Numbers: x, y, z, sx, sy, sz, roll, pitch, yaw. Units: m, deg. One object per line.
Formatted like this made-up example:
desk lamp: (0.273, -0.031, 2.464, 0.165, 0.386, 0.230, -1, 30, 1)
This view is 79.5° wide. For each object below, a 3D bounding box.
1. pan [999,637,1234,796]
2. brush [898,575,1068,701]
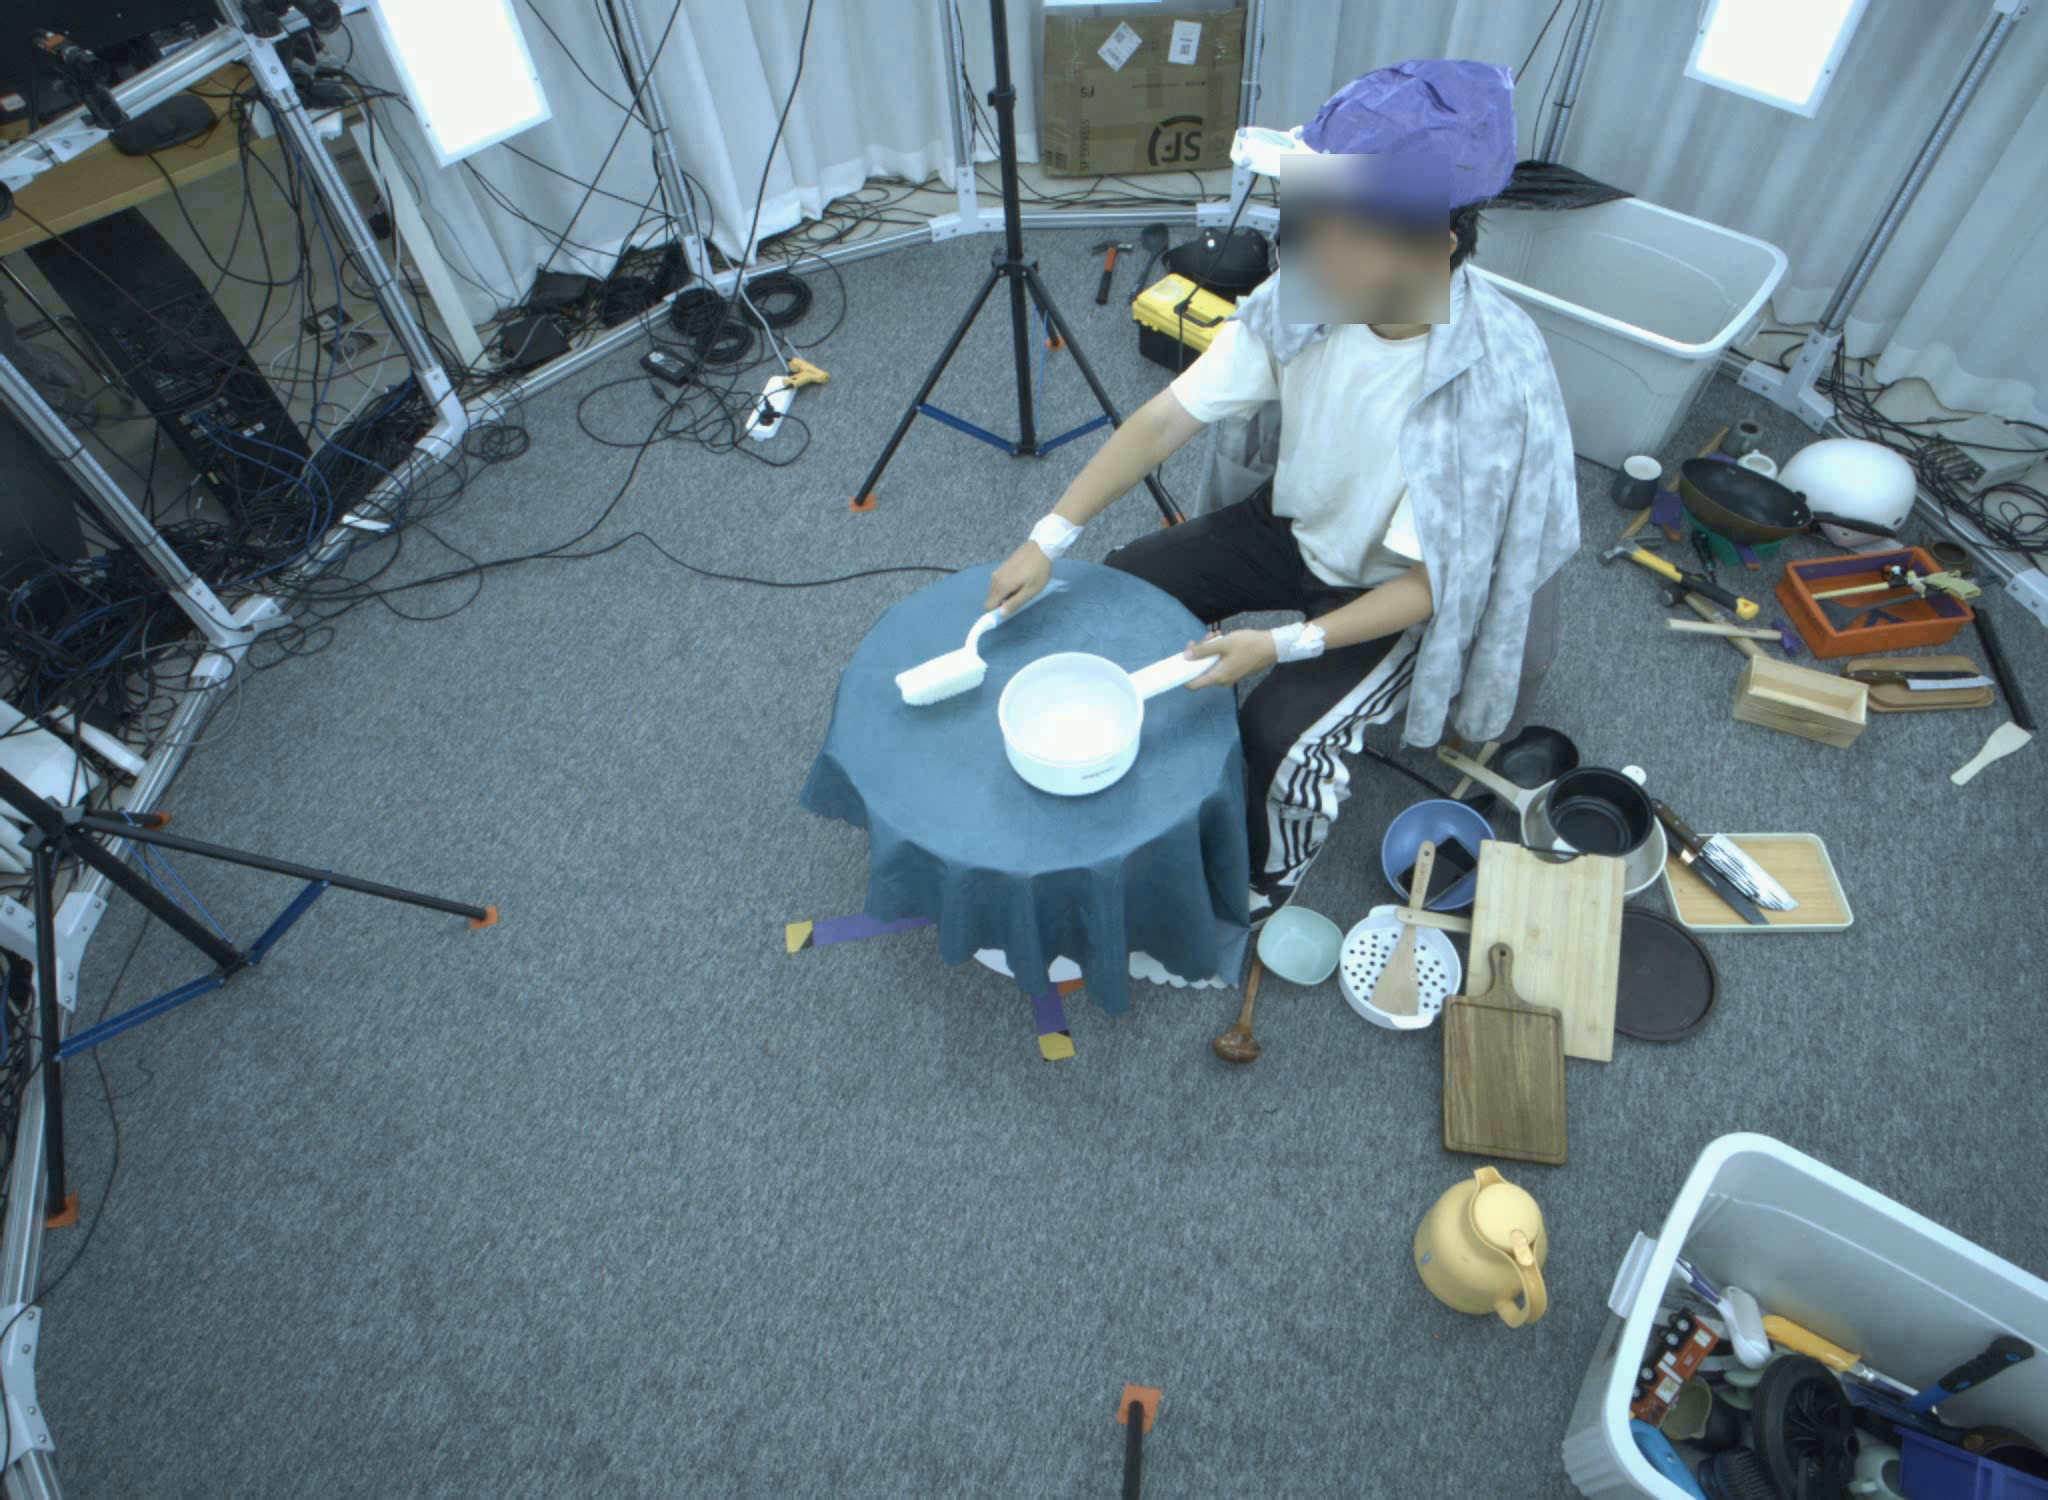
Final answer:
pan: (0.136, -0.061, 1.768, 0.357, 0.103, 0.197, -23, 56, -15)
brush: (-0.042, -0.163, 1.862, 0.328, 0.085, 0.081, -33, 21, -22)
